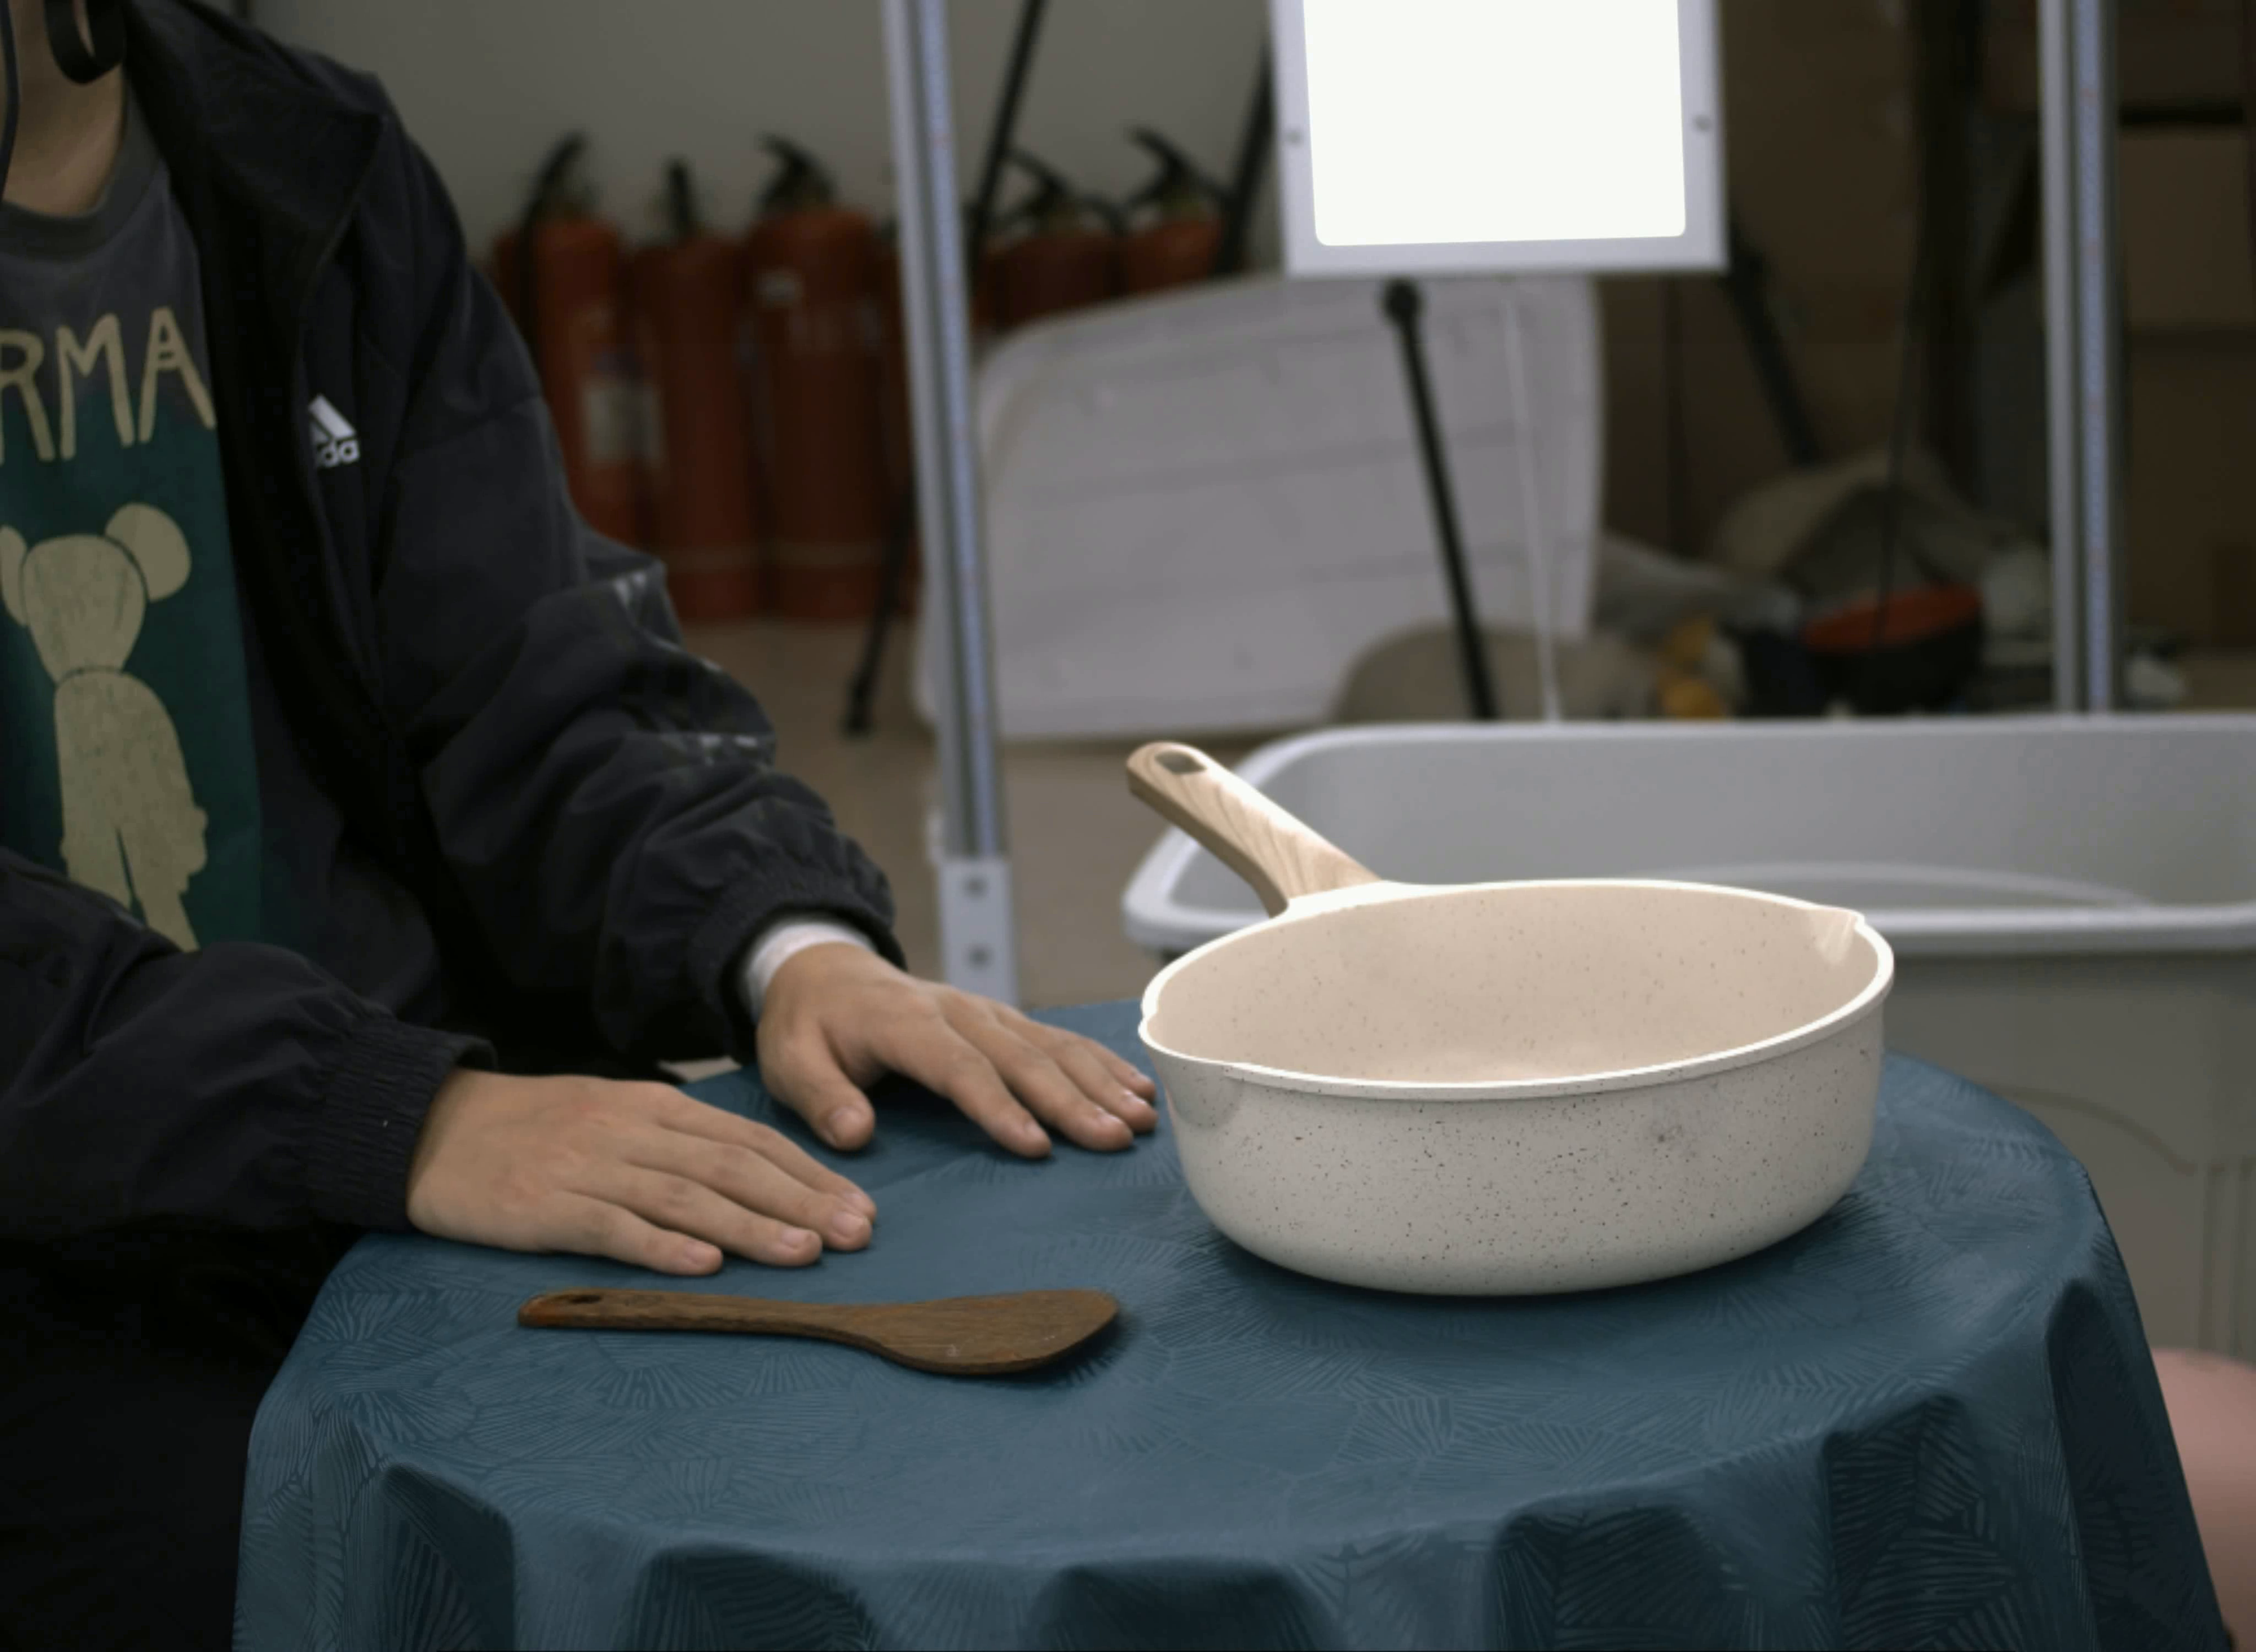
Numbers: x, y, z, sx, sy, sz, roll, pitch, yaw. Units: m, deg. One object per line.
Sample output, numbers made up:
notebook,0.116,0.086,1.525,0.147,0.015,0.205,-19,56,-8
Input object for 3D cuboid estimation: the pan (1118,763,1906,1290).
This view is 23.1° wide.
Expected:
pan,0.100,0.063,1.915,0.259,0.102,0.441,-12,15,-20

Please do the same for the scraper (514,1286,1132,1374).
scraper,-0.103,0.160,1.783,0.215,0.011,0.074,0,14,25
